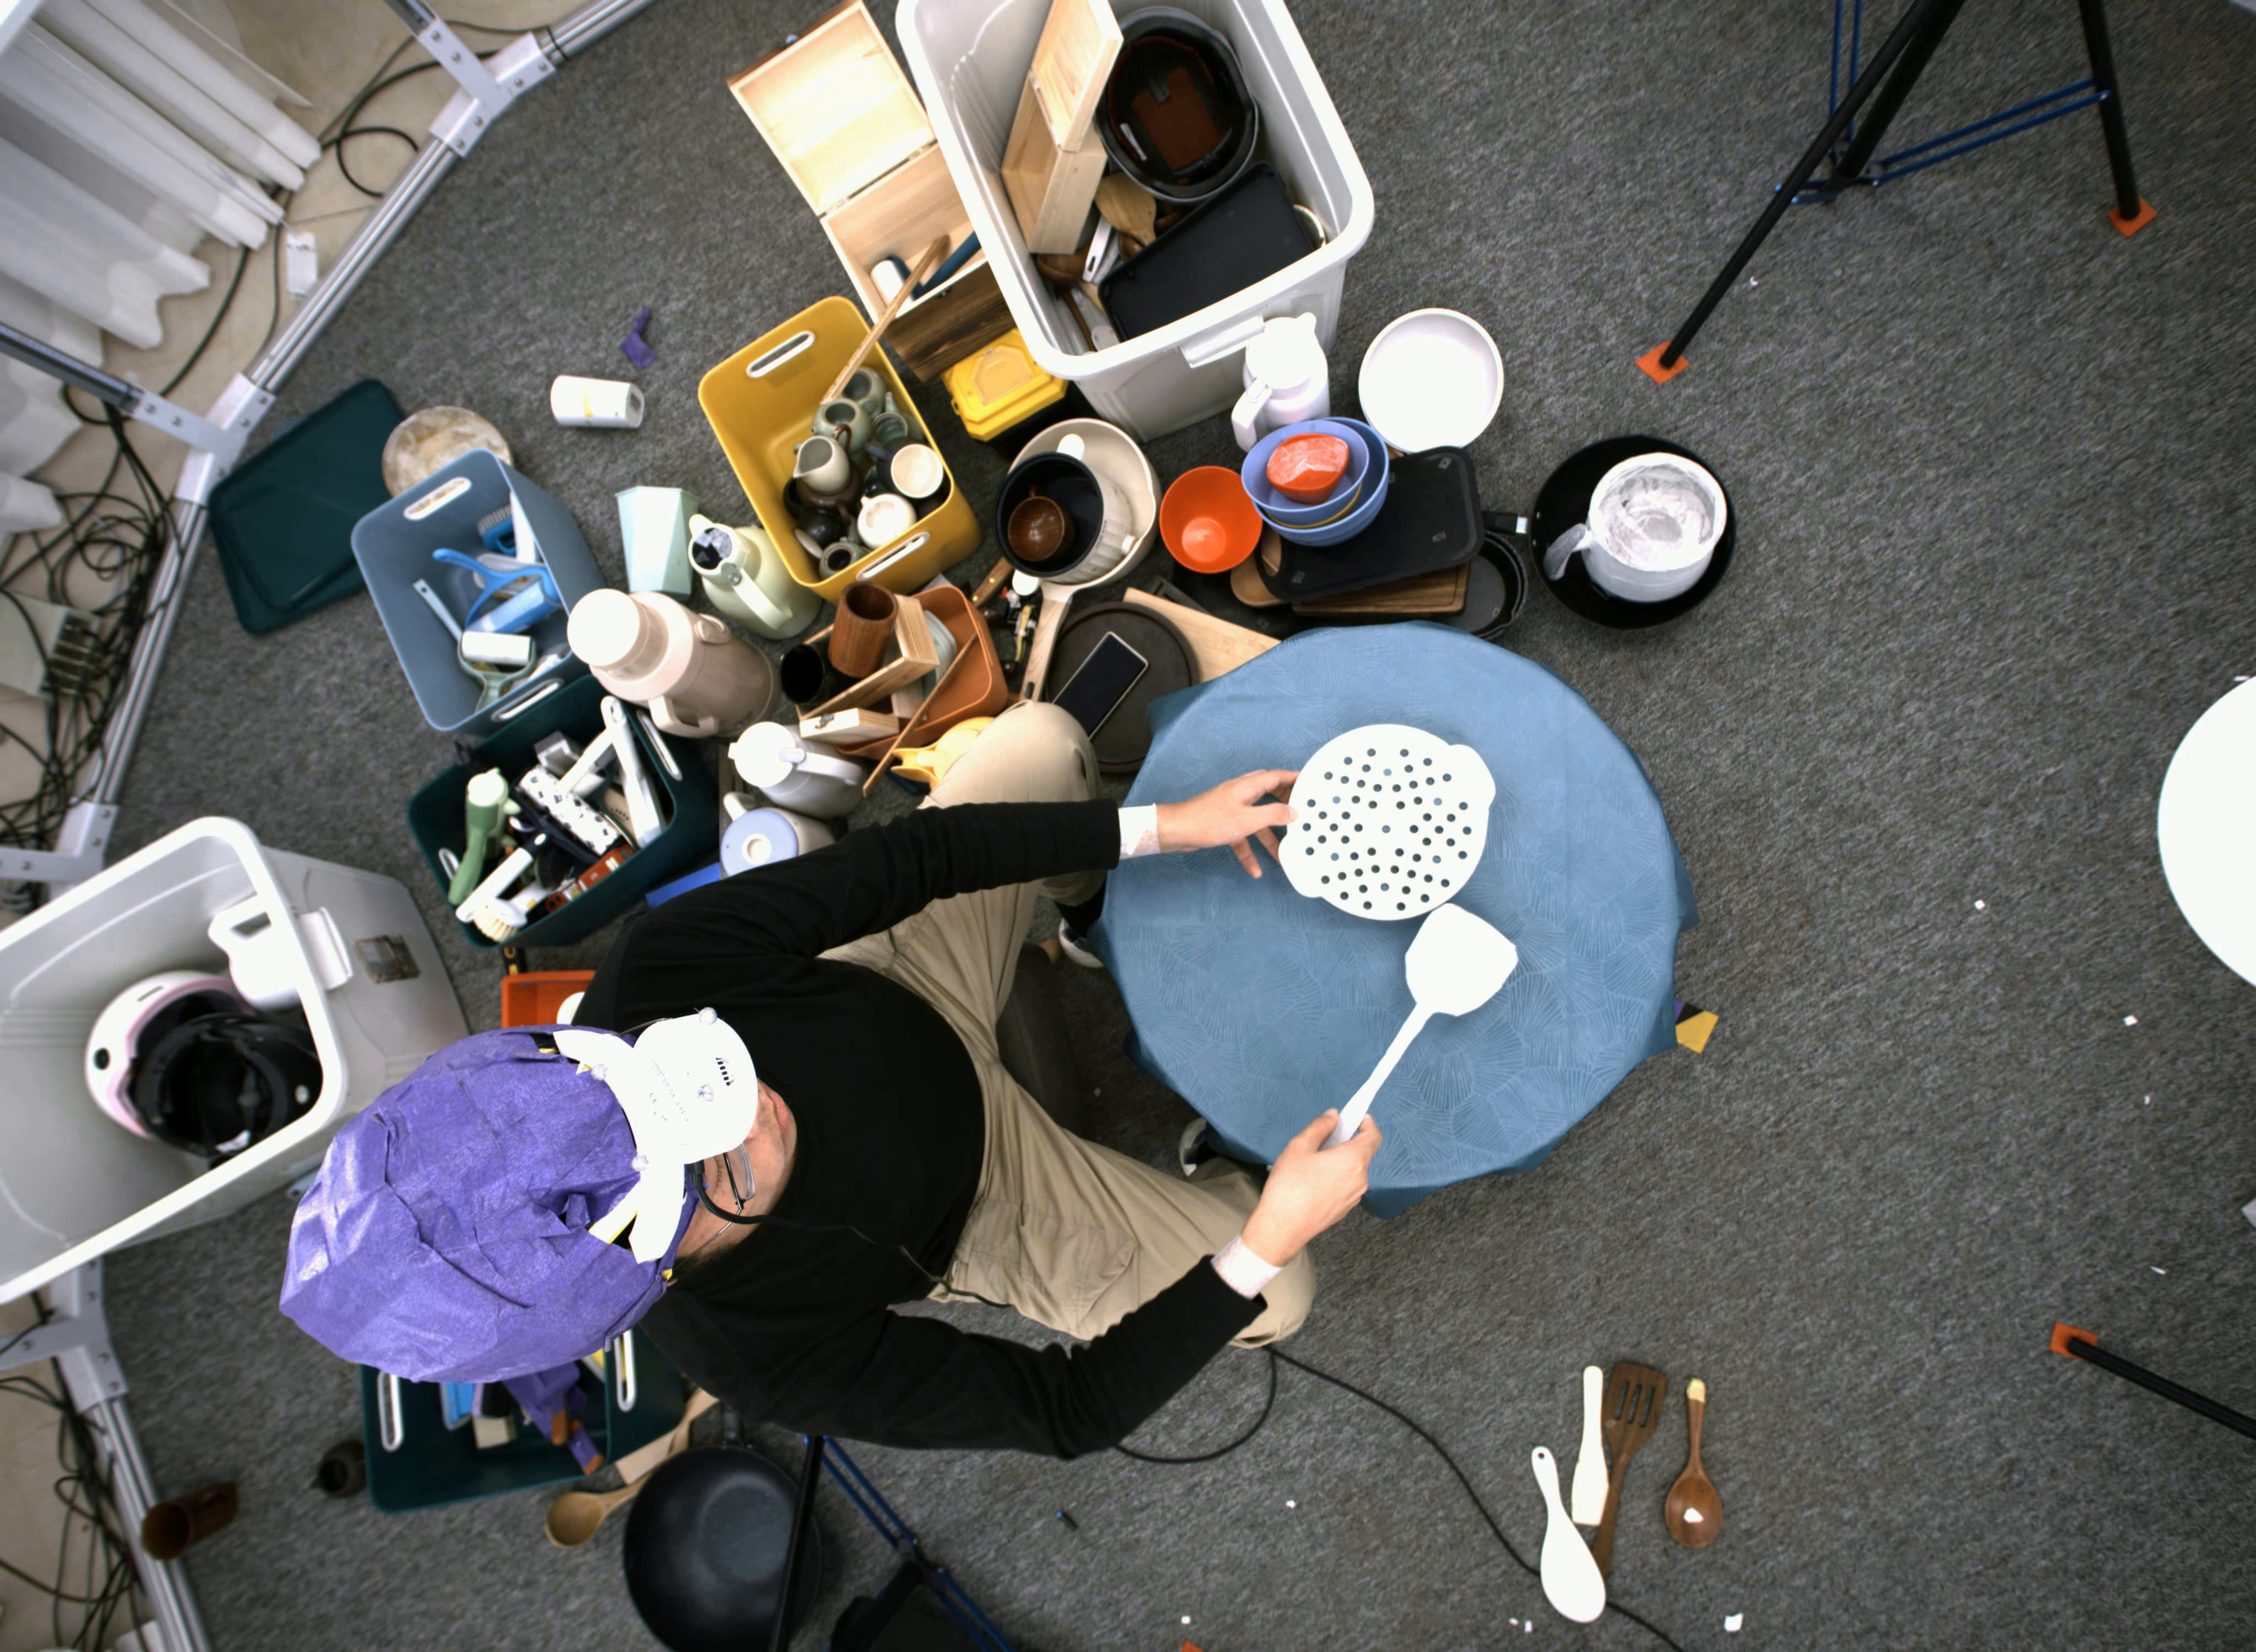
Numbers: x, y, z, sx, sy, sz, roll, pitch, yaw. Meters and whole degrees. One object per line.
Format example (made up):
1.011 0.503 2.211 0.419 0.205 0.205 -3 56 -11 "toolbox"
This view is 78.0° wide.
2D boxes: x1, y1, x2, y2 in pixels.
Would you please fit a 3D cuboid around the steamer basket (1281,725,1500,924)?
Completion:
0.269 -0.001 1.418 0.231 0.070 0.200 -27 75 4 "steamer basket"

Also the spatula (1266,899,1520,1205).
0.248 0.222 1.325 0.098 0.045 0.358 38 67 9 "spatula"
